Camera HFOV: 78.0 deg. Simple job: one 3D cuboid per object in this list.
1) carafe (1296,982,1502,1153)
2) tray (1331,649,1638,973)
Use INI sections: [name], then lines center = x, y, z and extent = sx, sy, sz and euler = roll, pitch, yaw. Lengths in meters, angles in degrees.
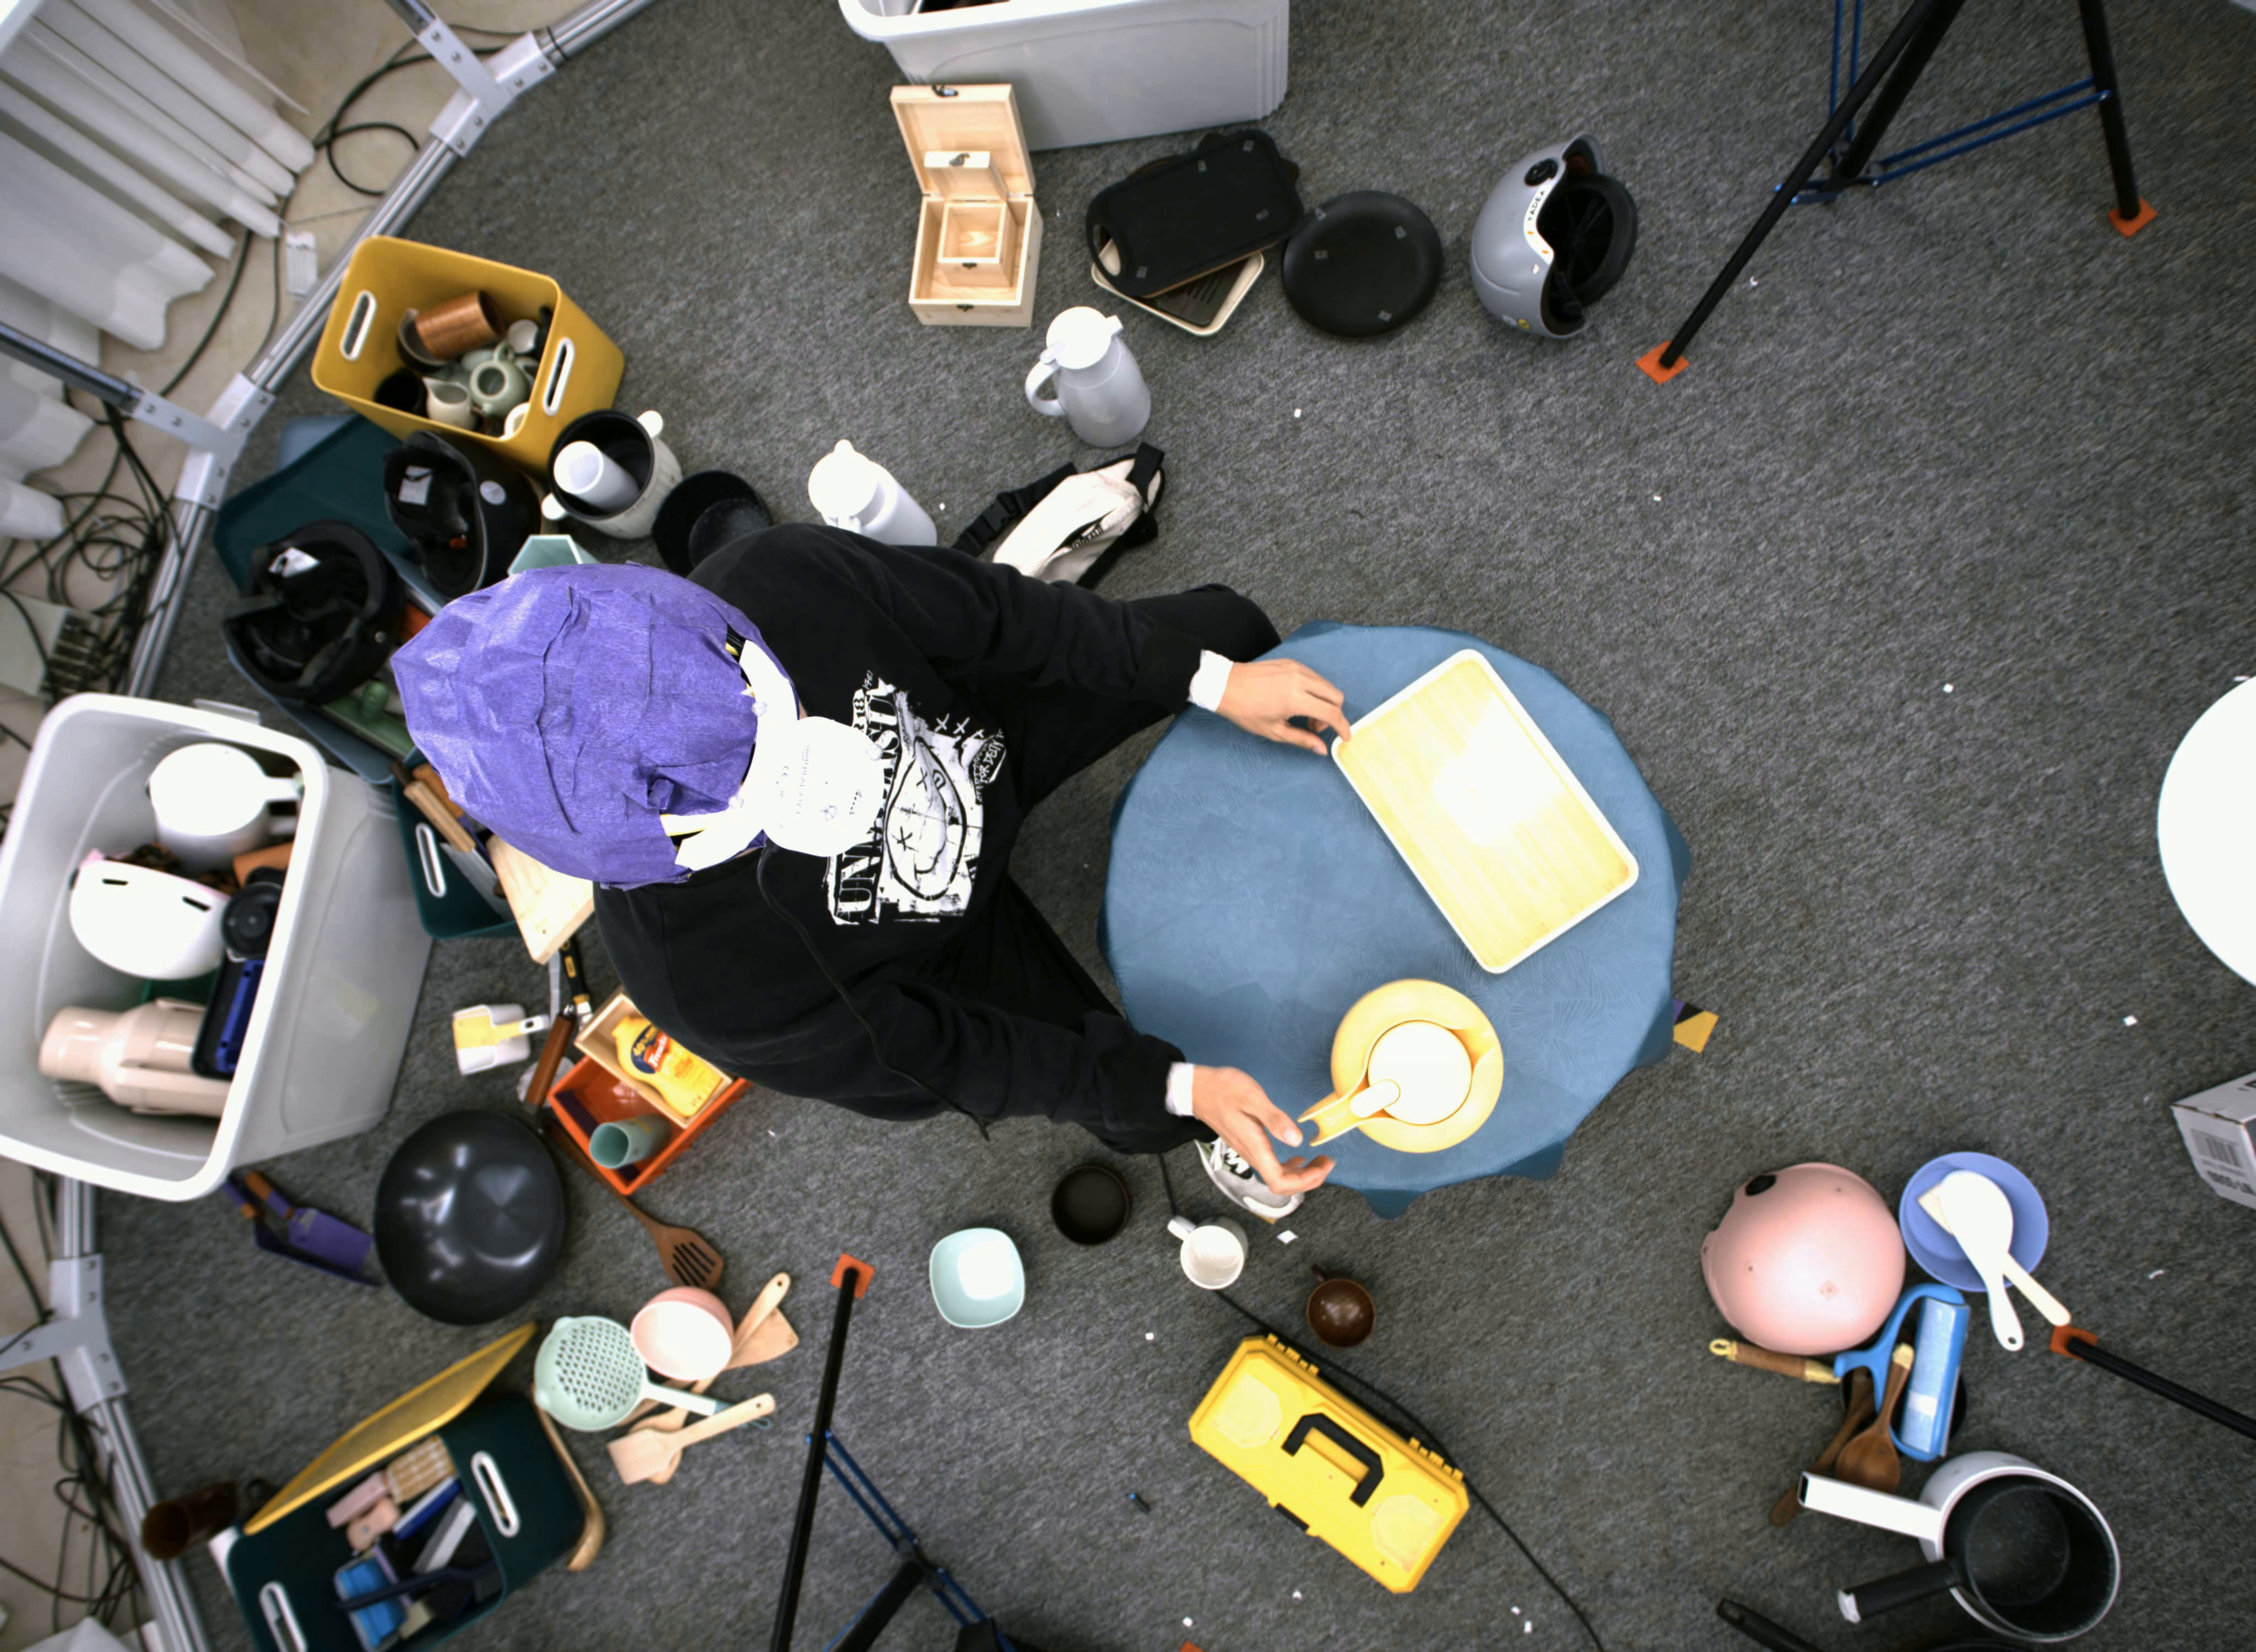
[carafe]
center = 0.256, 0.236, 1.323
extent = 0.203, 0.261, 0.162
euler = -27, 79, 5
[tray]
center = 0.368, -0.018, 1.433
extent = 0.192, 0.027, 0.298
euler = -35, 81, 7
